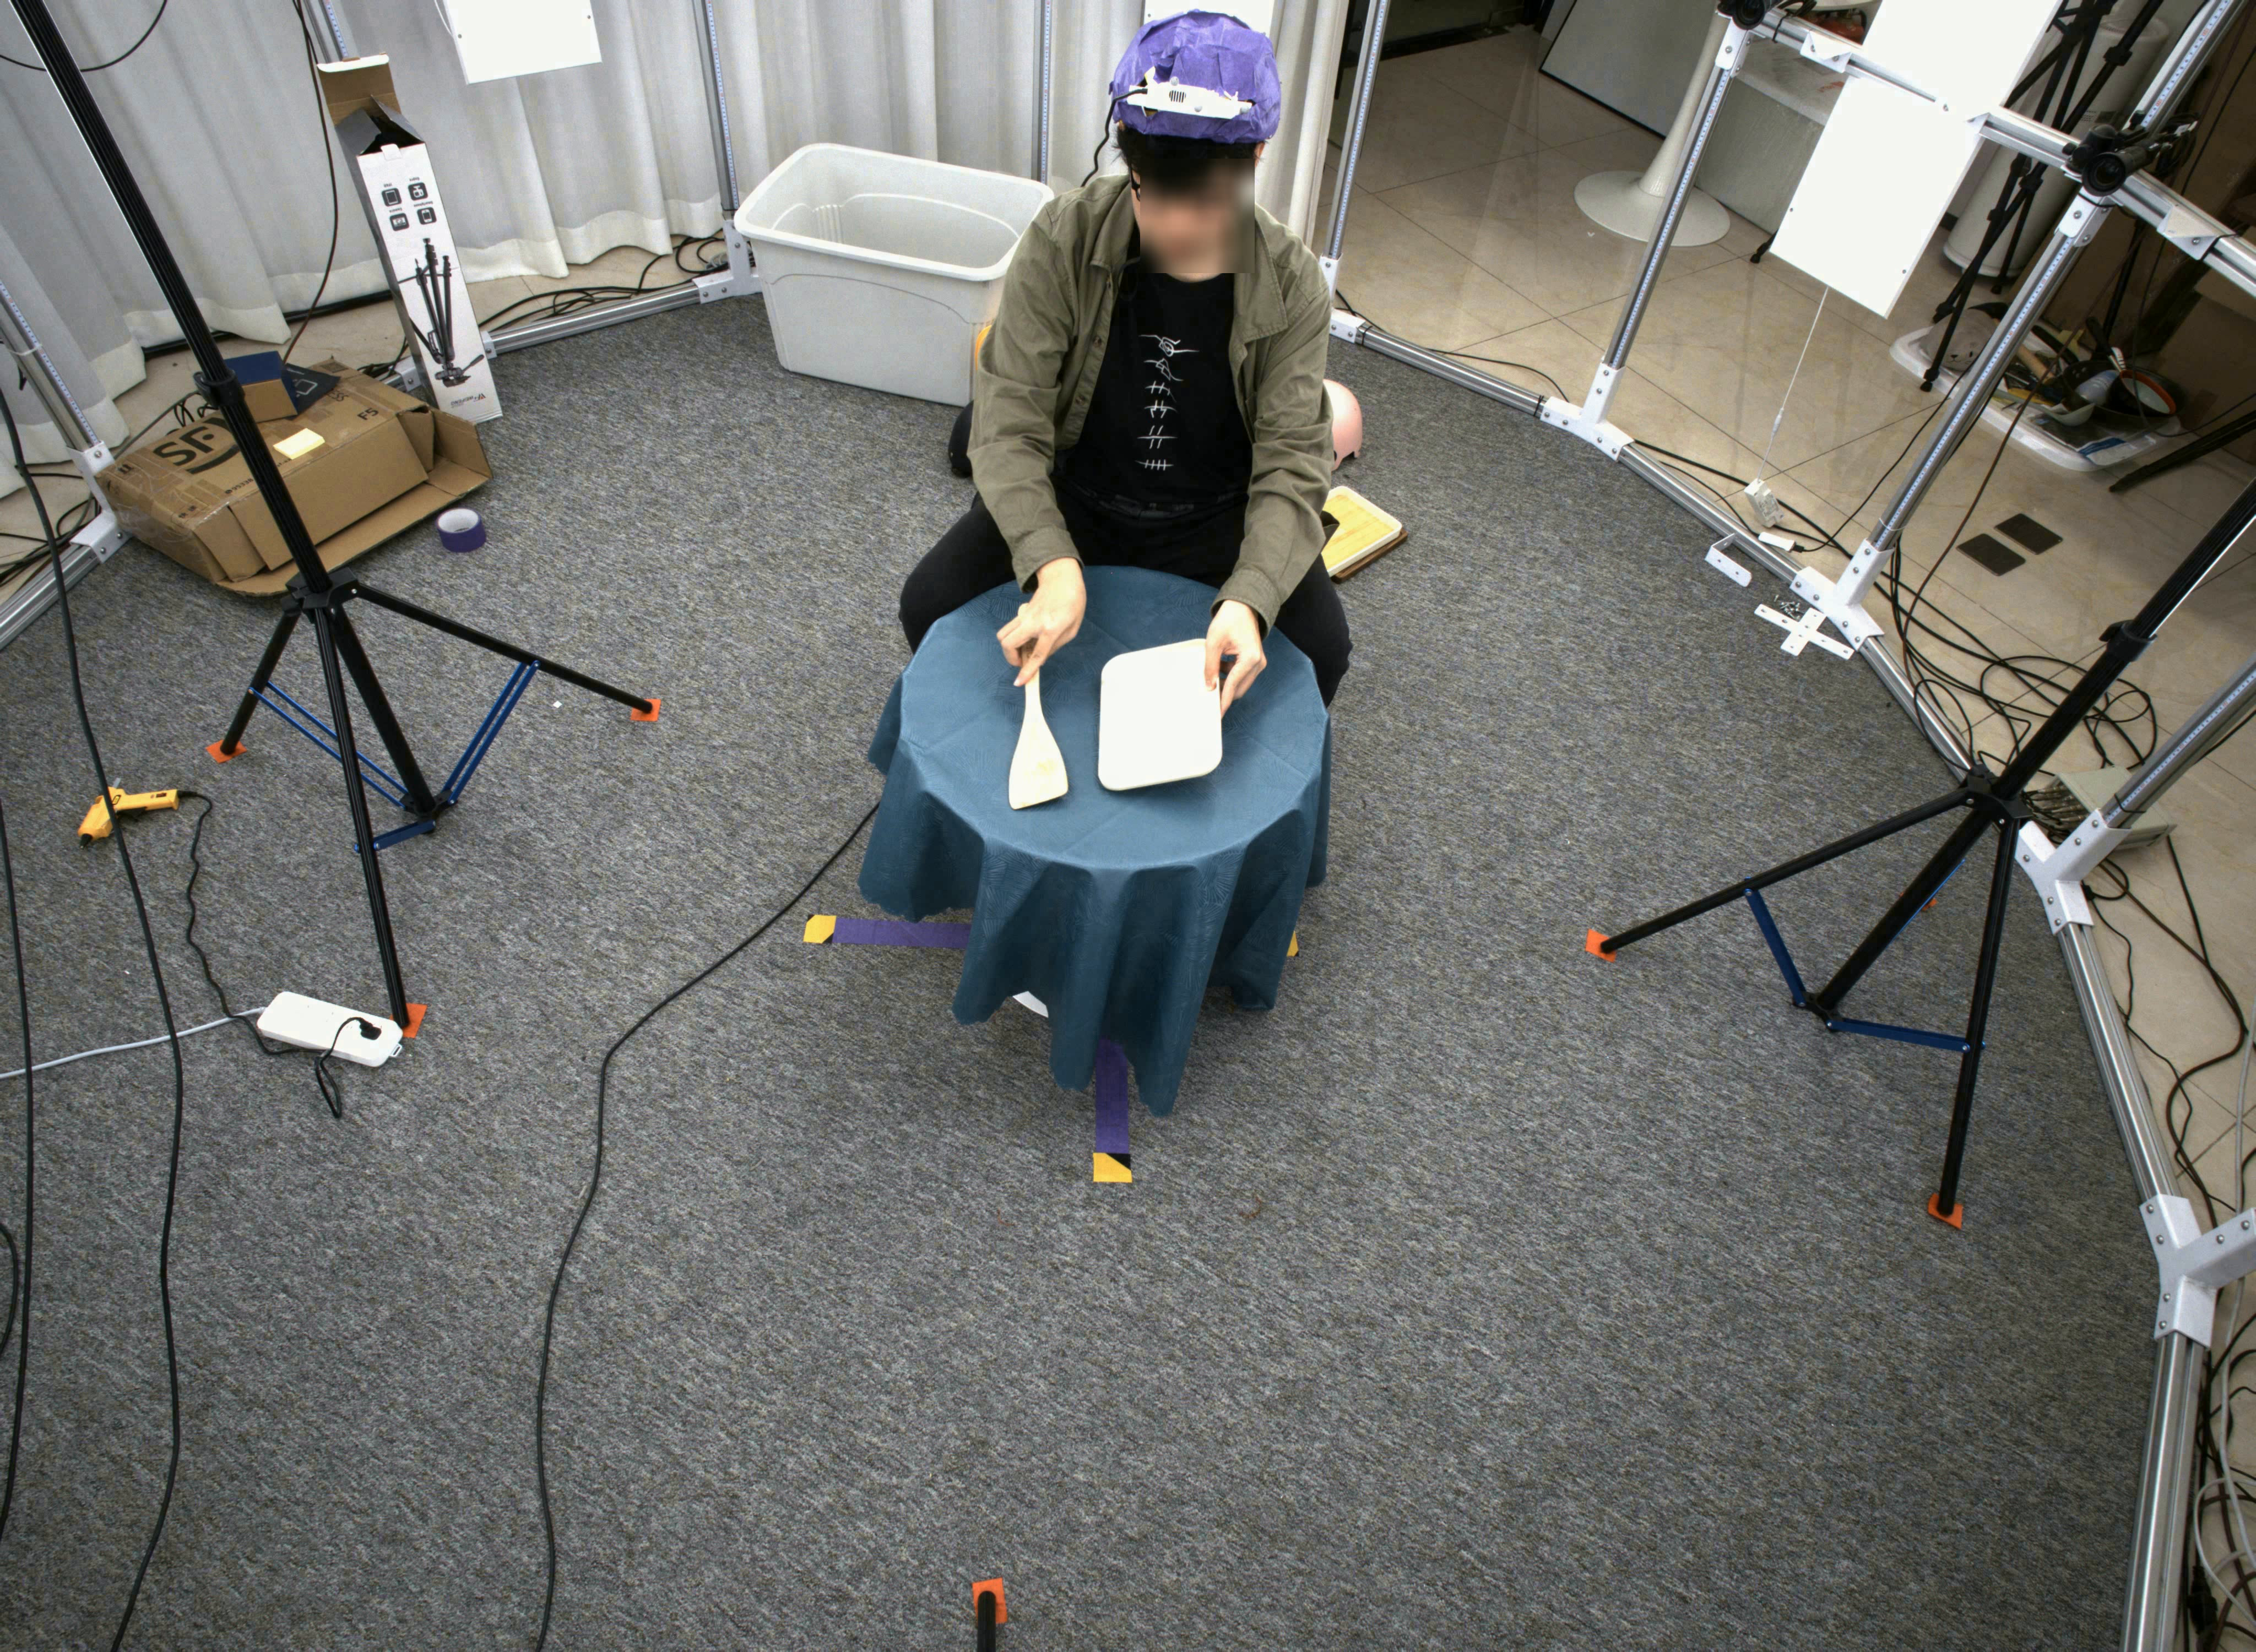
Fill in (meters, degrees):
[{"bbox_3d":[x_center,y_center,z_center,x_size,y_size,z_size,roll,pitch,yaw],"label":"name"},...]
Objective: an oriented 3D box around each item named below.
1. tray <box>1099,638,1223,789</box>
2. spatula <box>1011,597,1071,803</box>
[{"bbox_3d":[0.044,-0.153,1.743,0.171,0.017,0.245,-10,51,13],"label":"tray"},{"bbox_3d":[-0.129,-0.179,1.744,0.080,0.016,0.334,-9,63,4],"label":"spatula"}]
